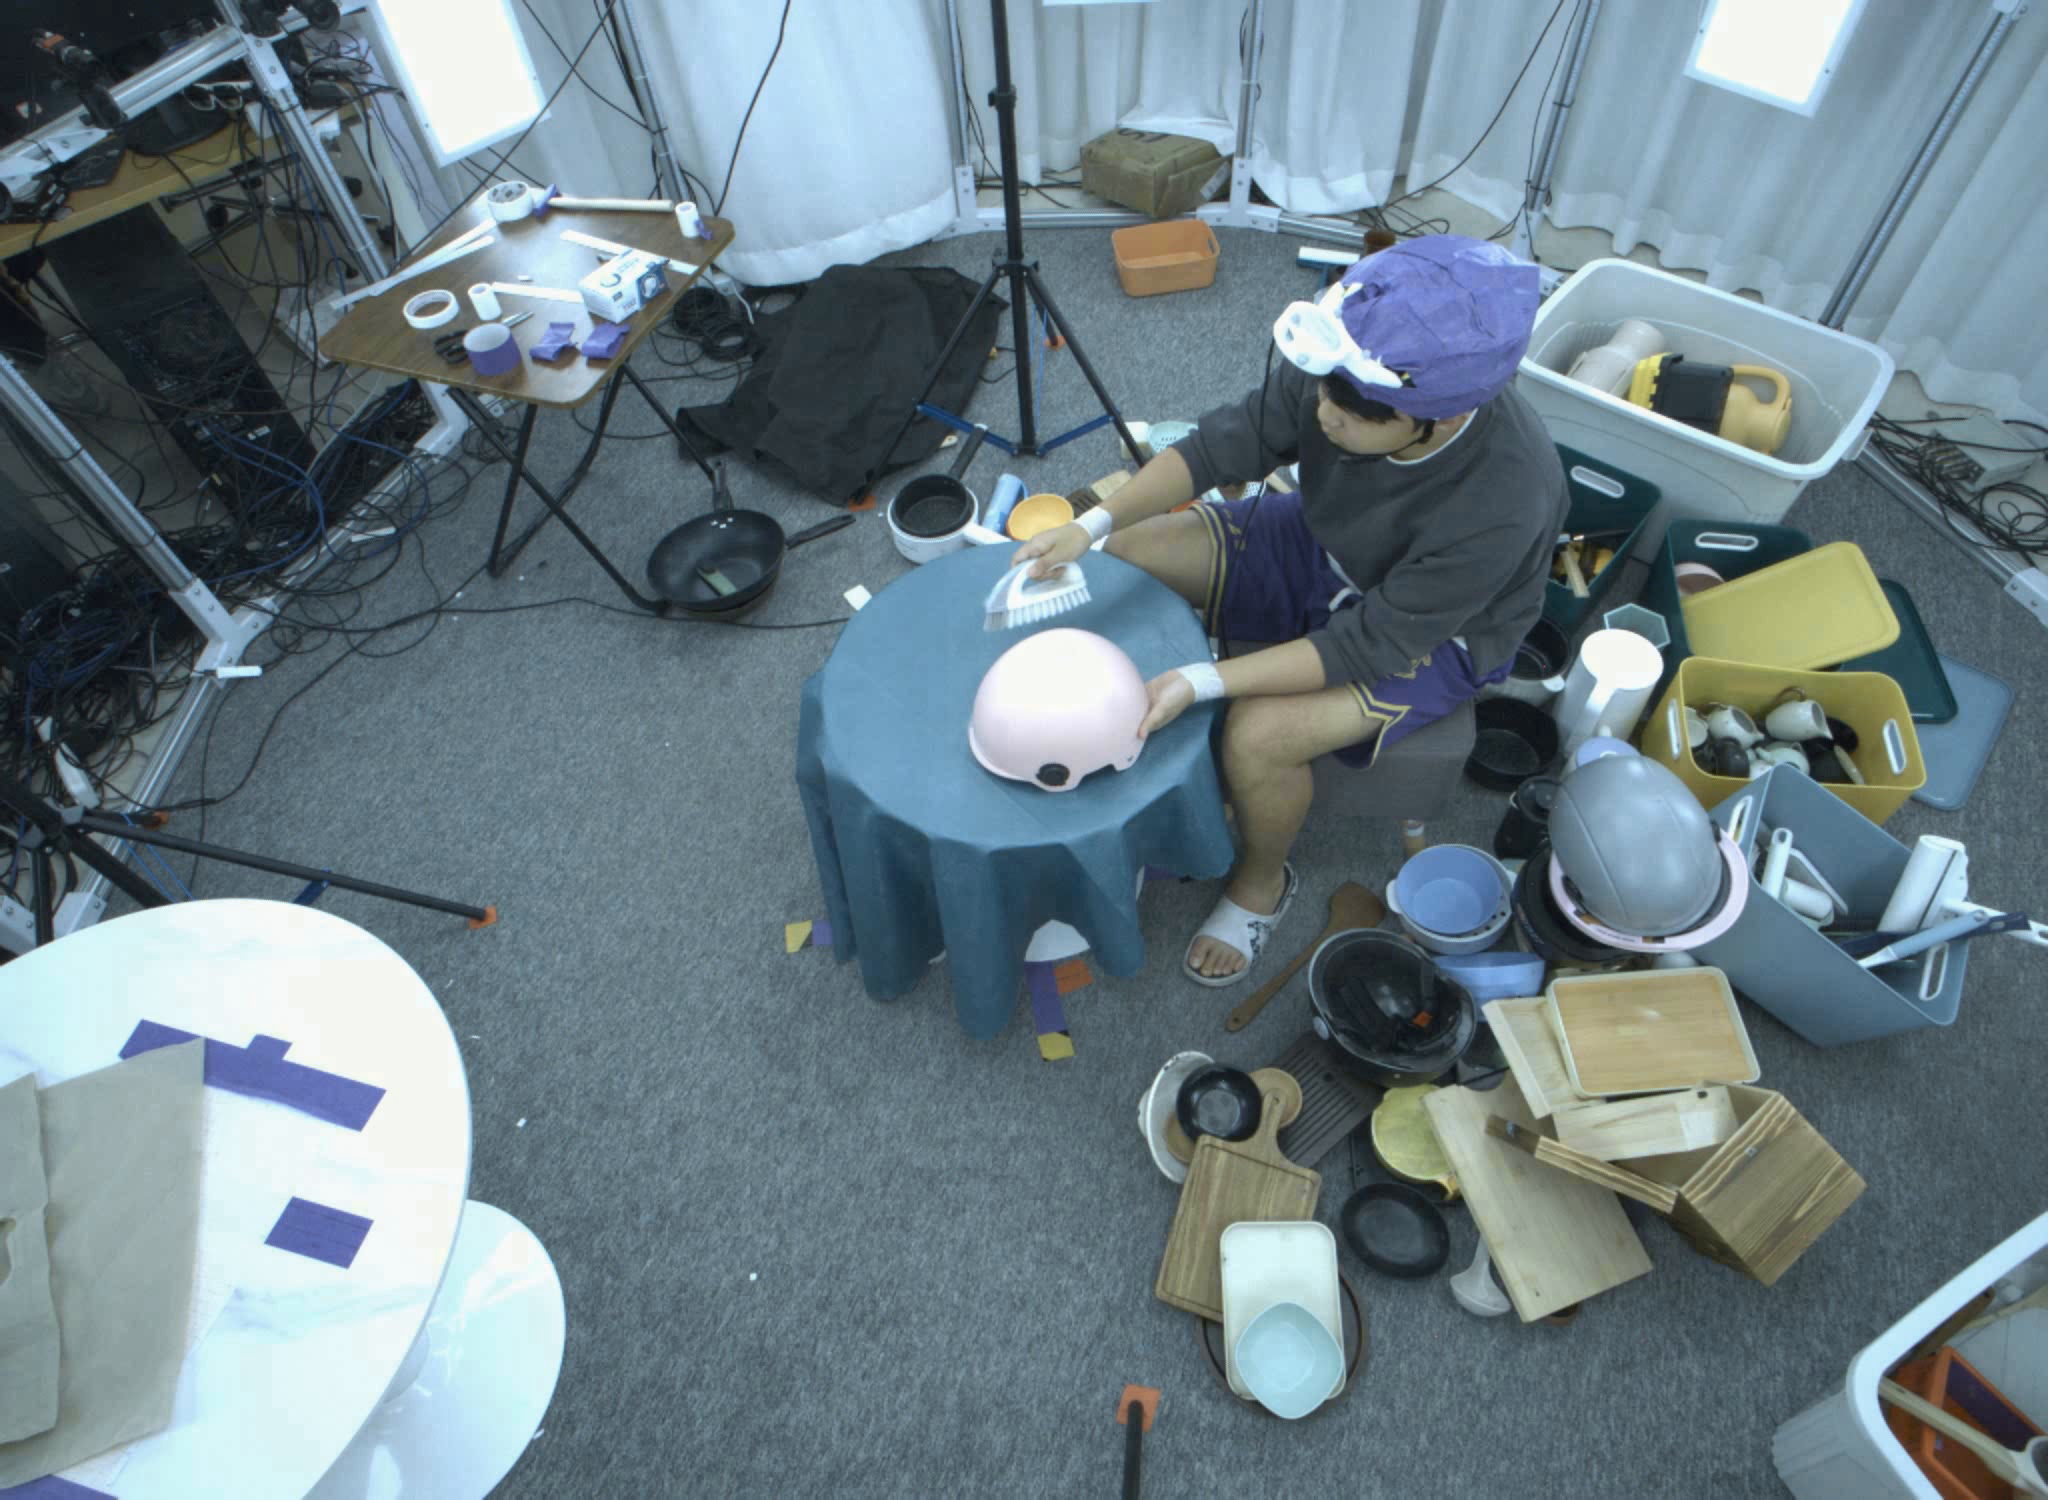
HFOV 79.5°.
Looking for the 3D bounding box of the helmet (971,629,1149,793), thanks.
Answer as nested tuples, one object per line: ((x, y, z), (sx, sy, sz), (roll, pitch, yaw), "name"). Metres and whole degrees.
((0.043, -0.075, 1.749), (0.266, 0.161, 0.230), (-13, 55, -1), "helmet")

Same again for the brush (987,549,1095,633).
((0.016, -0.242, 1.835), (0.177, 0.095, 0.060), (-24, 24, -21), "brush")
